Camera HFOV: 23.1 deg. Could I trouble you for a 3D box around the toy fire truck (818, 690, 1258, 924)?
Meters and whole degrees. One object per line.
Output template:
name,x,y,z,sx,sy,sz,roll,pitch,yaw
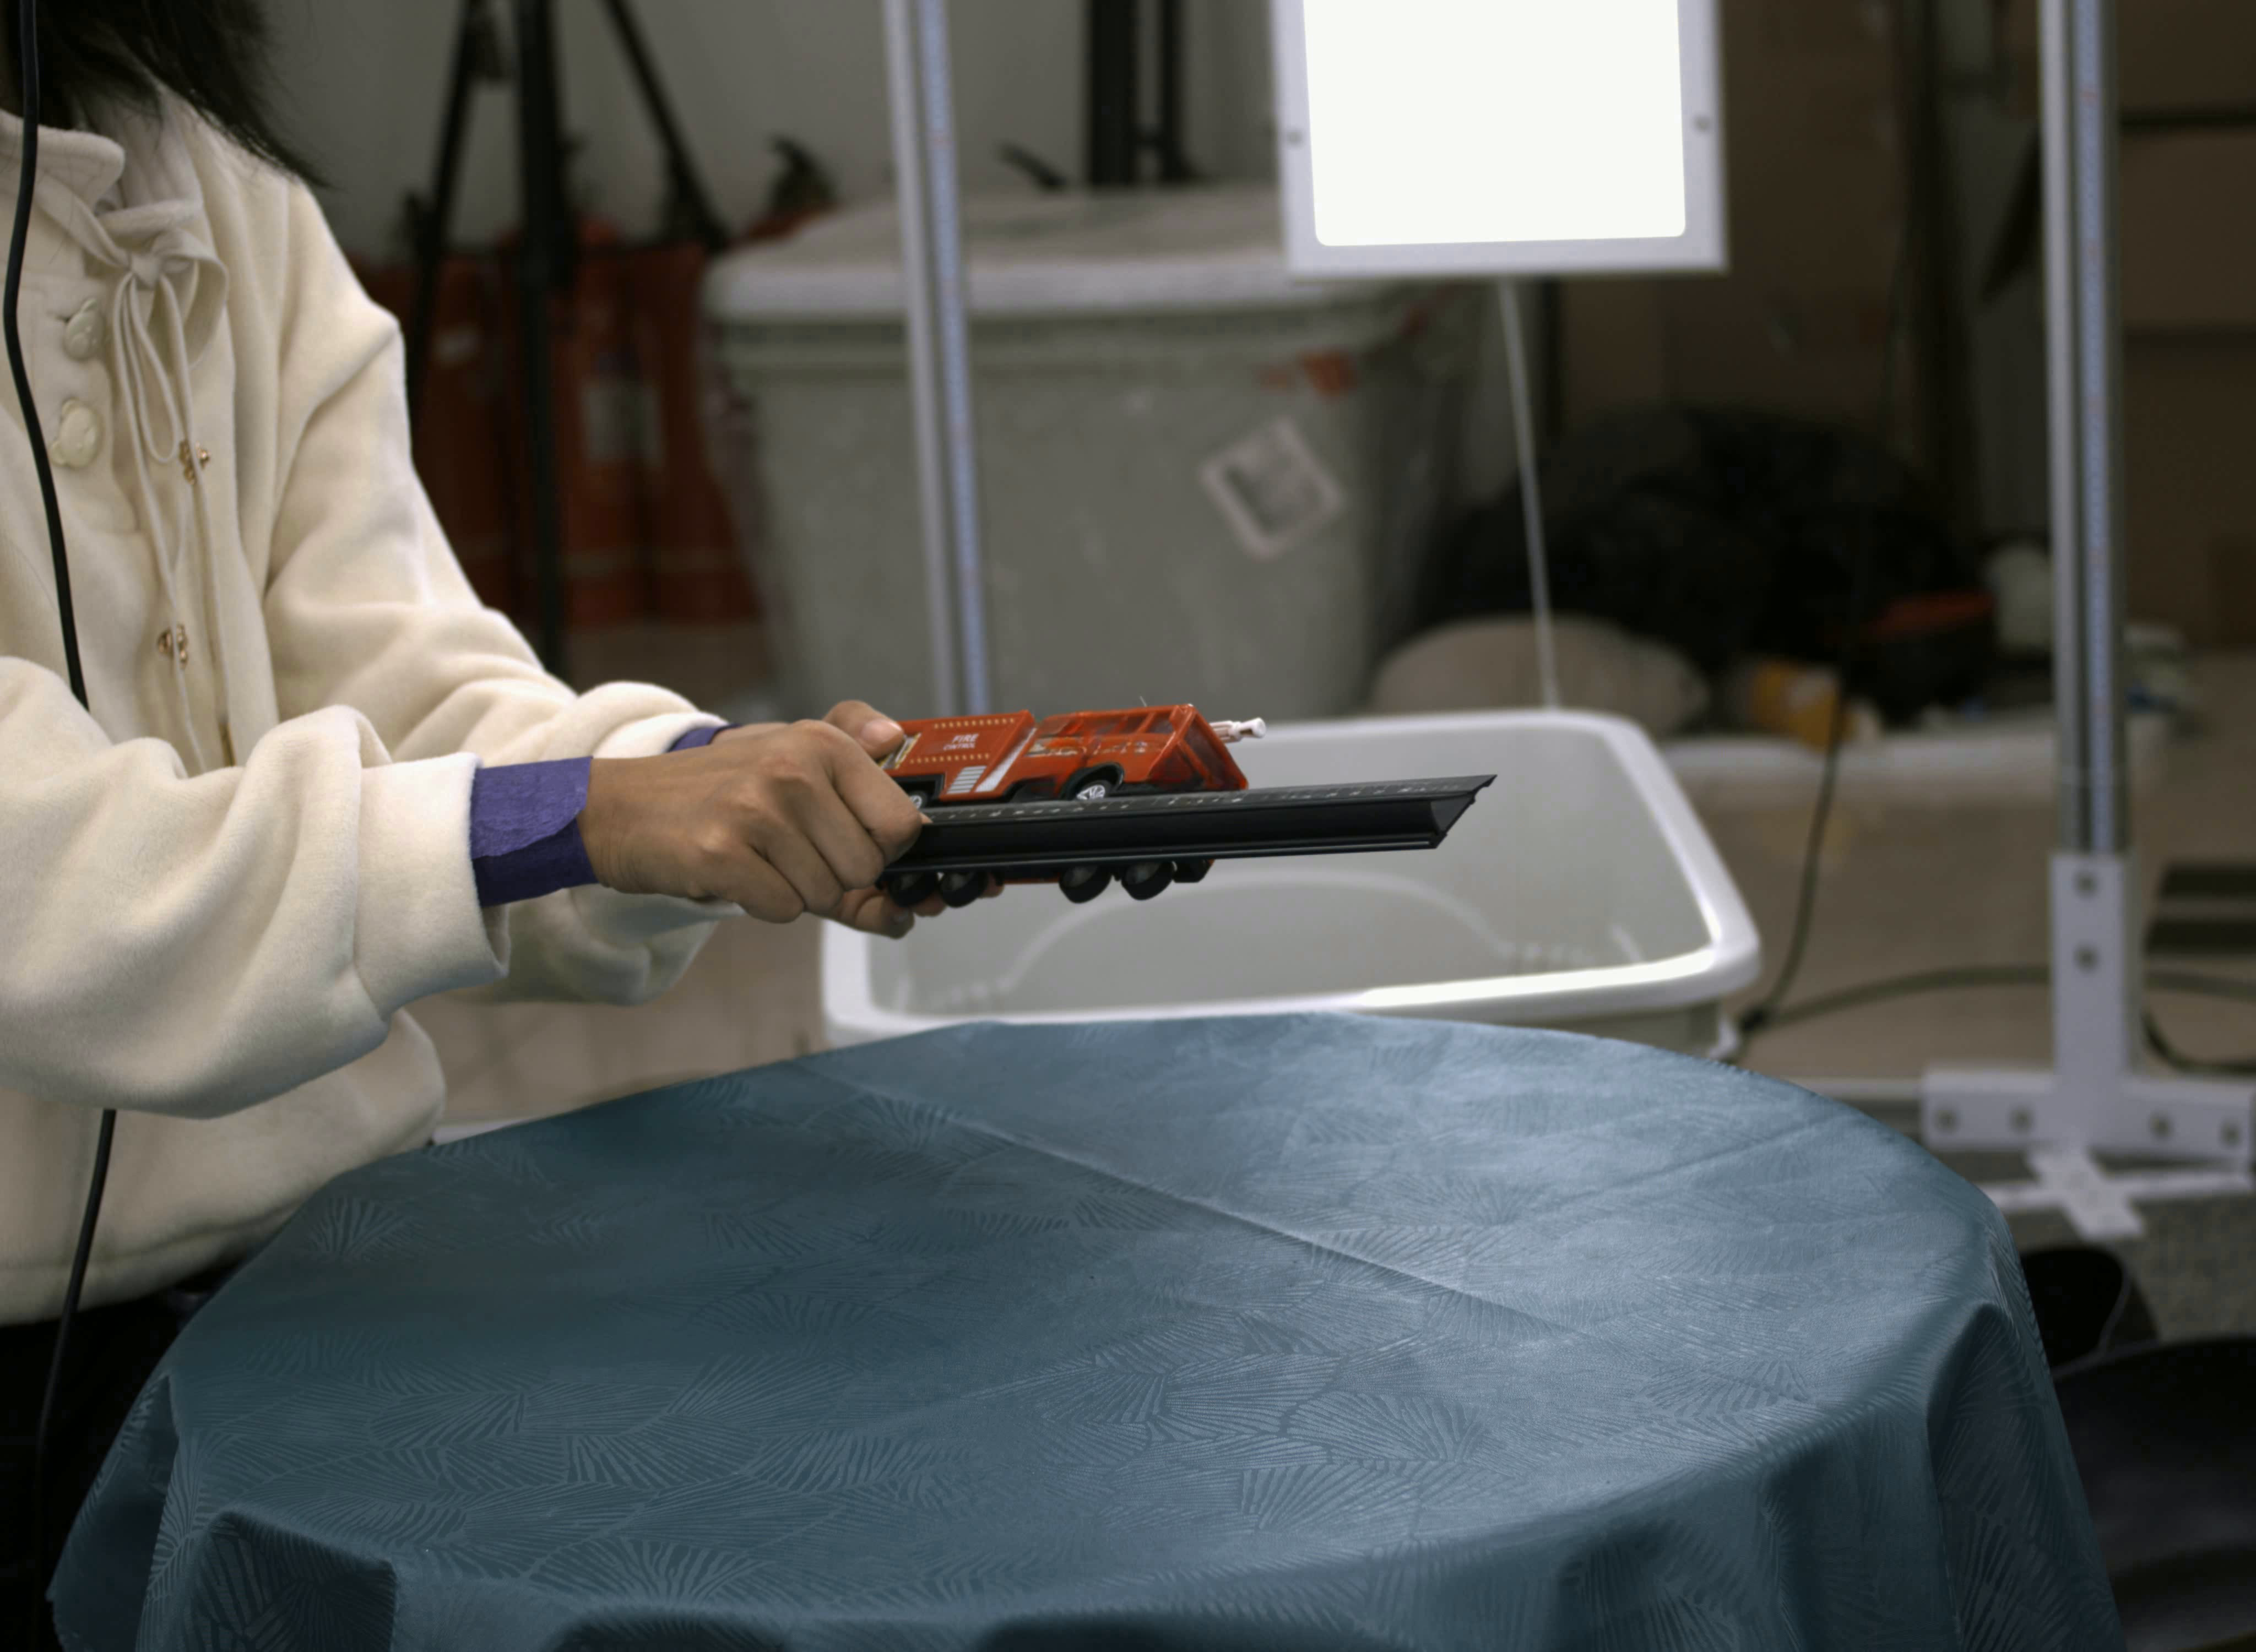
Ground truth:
toy fire truck,-0.031,-0.007,1.881,0.172,0.053,0.069,-5,43,45

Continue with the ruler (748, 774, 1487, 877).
ruler,-0.010,-0.005,1.790,0.320,0.017,0.038,-3,32,46
